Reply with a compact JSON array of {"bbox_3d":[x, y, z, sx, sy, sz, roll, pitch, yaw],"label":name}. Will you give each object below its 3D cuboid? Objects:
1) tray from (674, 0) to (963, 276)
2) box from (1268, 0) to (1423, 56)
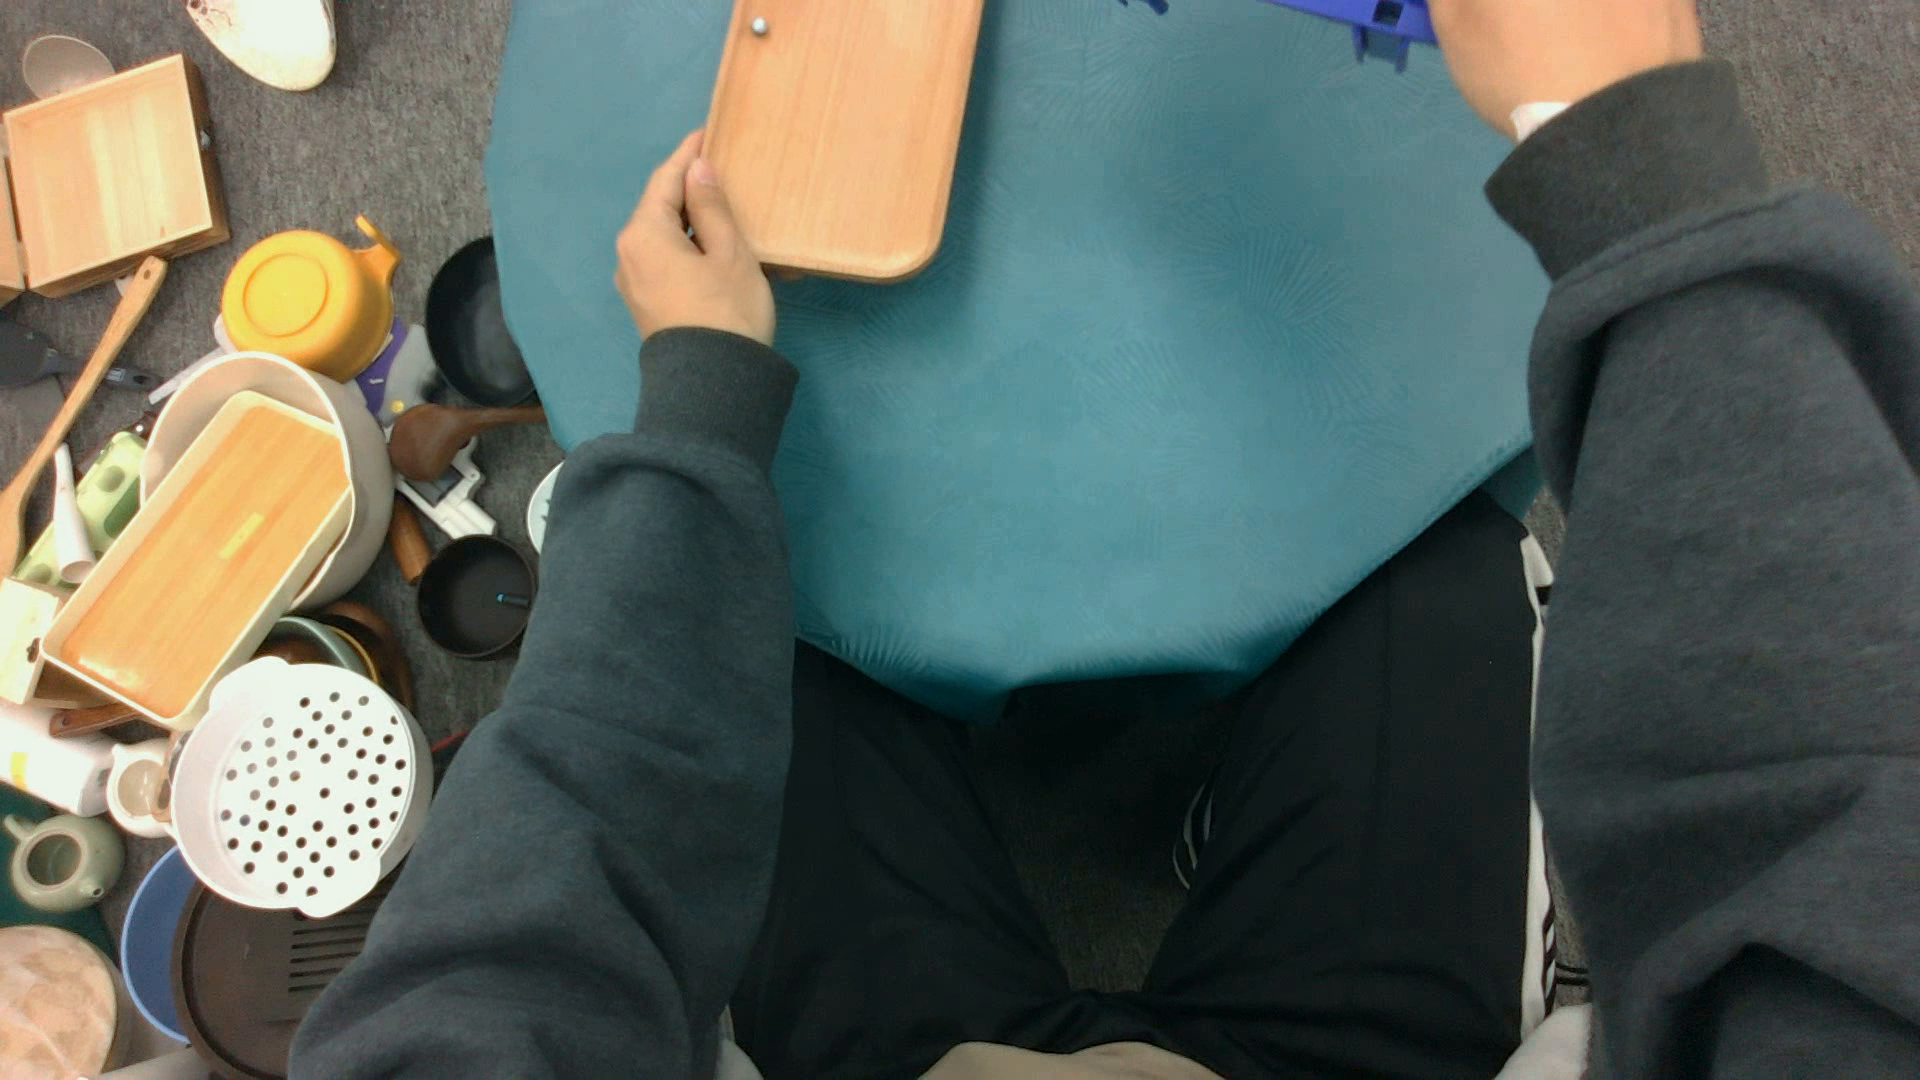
[{"bbox_3d":[-0.066,-0.252,0.712,0.130,0.023,0.251,6,74,5],"label":"tray"},{"bbox_3d":[0.105,-0.274,0.539,0.179,0.082,0.124,18,107,10],"label":"box"}]
